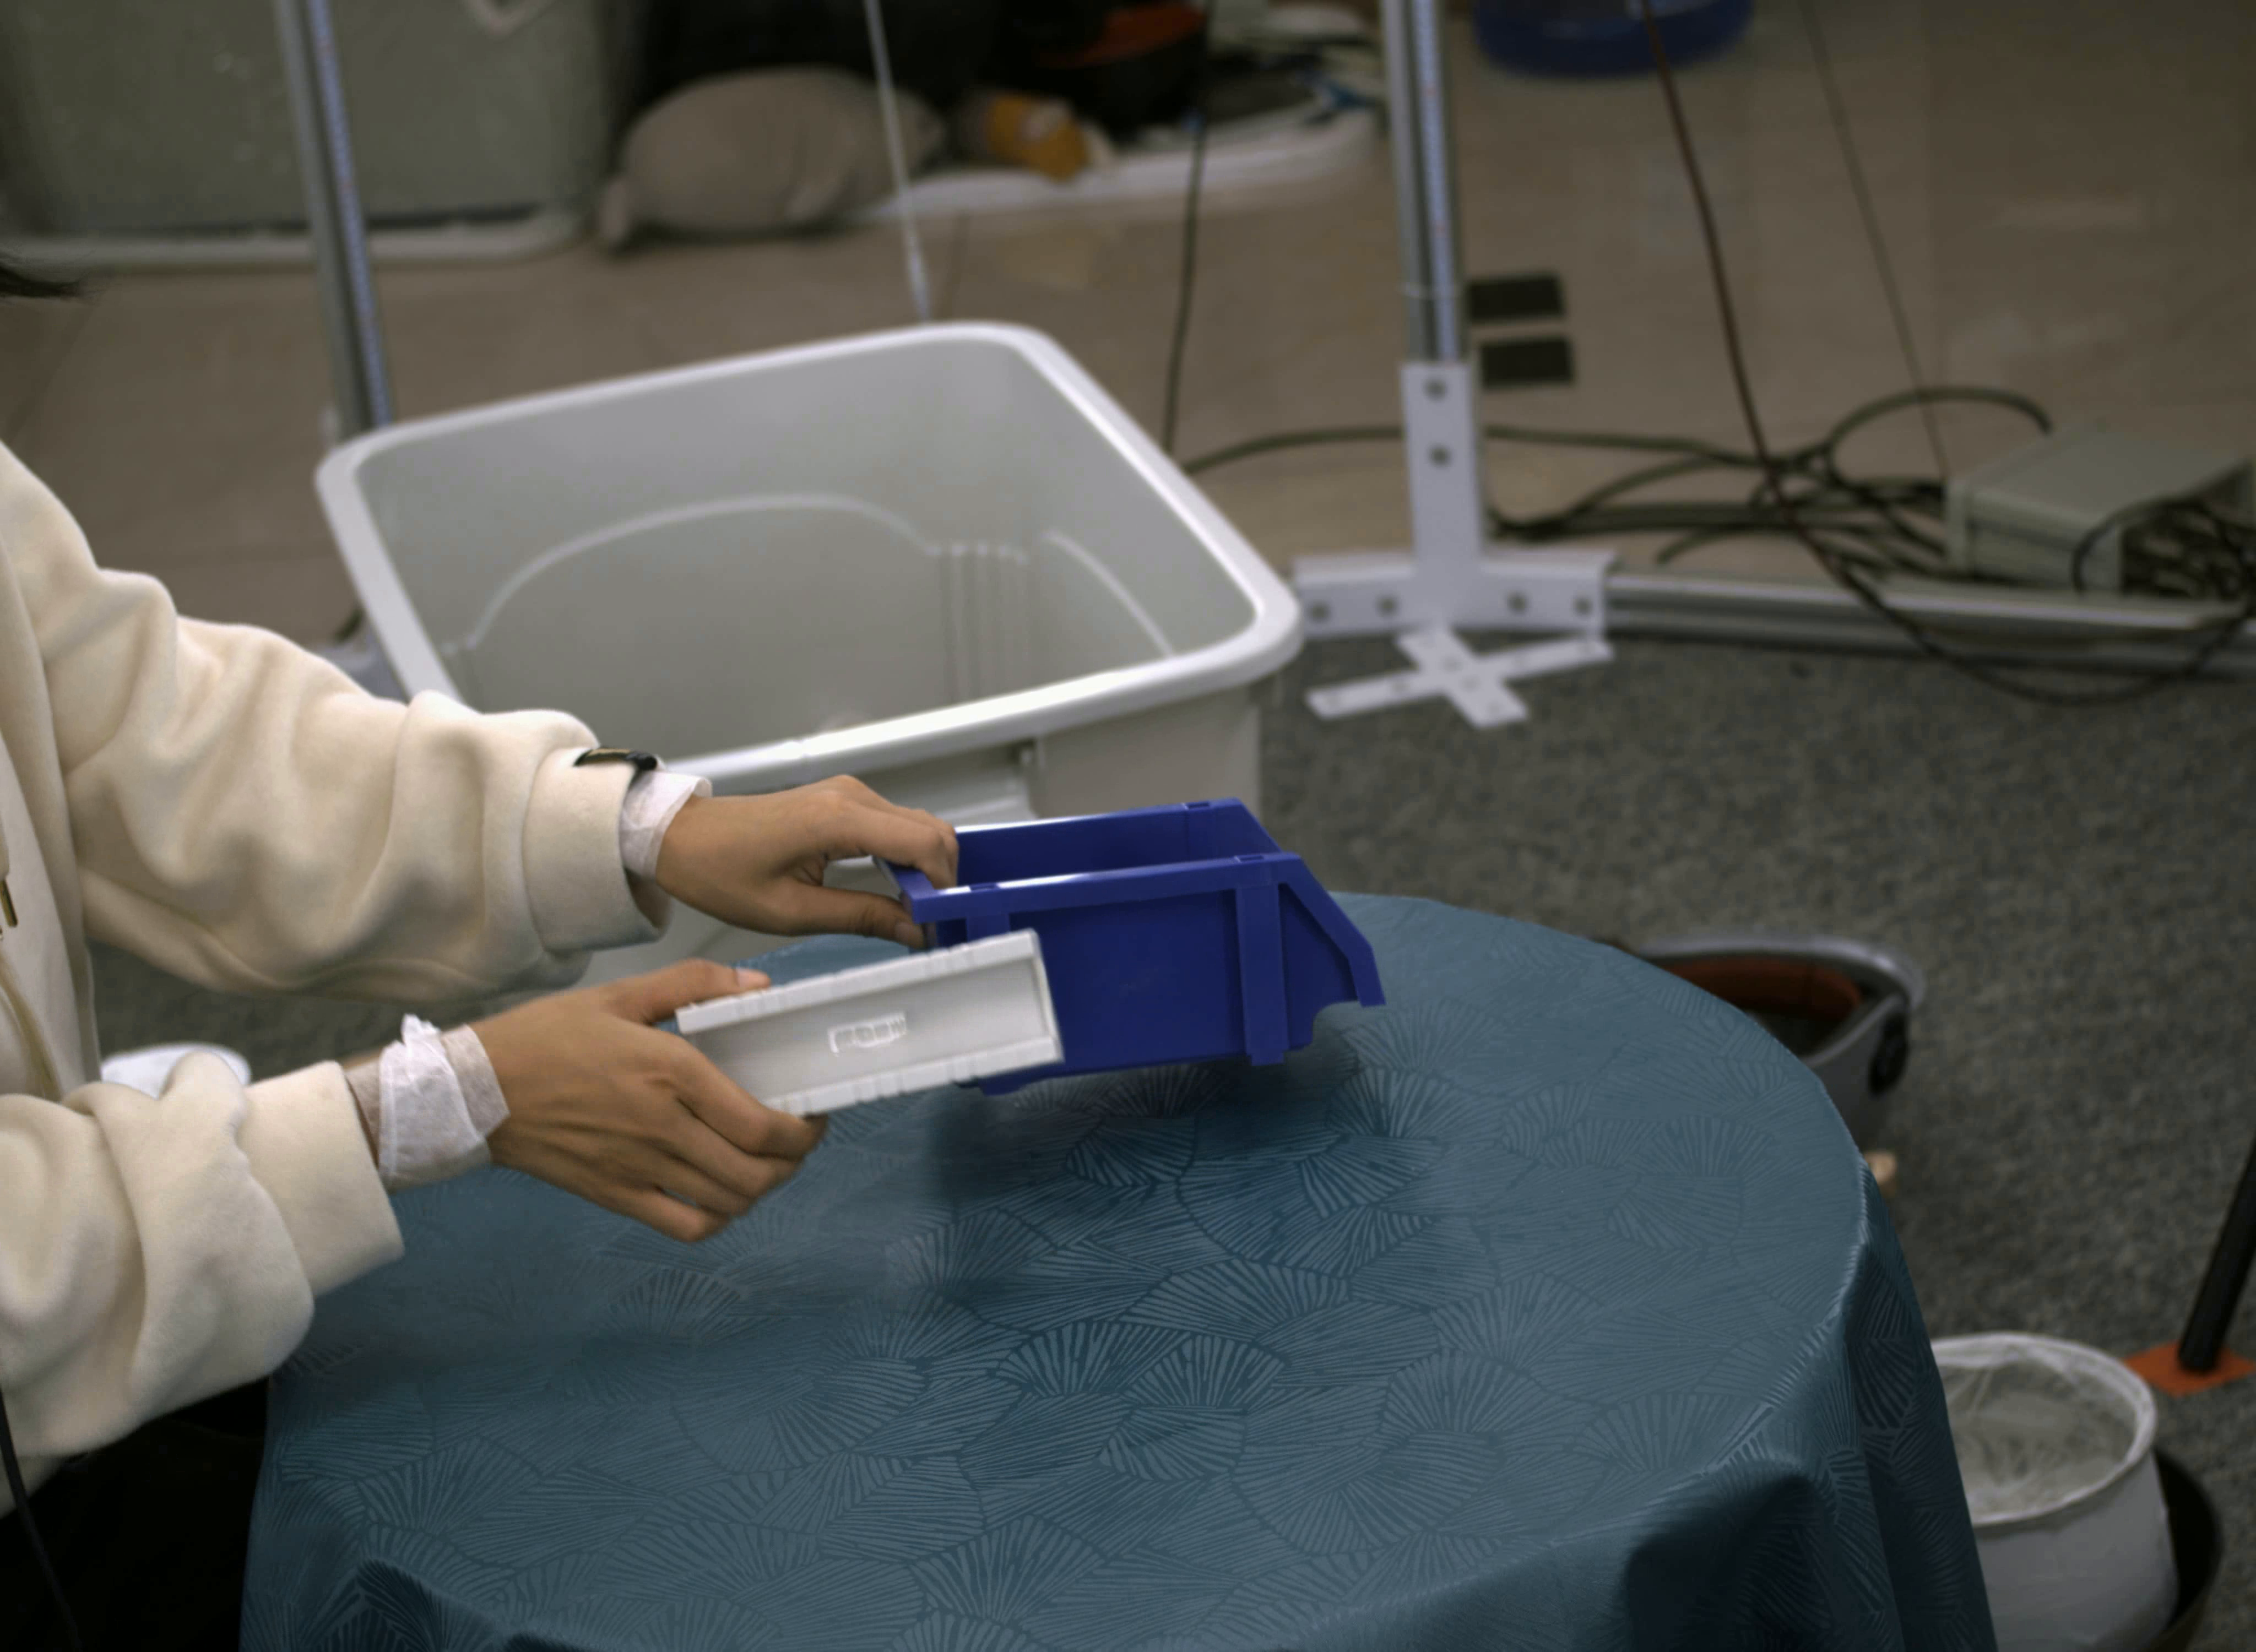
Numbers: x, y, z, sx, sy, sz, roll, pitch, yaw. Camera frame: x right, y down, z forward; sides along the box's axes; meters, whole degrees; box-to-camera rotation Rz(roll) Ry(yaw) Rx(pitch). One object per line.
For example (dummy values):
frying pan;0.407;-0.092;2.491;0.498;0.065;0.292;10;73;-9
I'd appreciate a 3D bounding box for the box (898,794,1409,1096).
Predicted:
box;0.009;0.044;2.206;0.179;0.083;0.123;-8;13;-7

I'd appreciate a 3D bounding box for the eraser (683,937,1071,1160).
eraser;-0.091;0.082;2.081;0.134;0.050;0.046;-15;-2;3
